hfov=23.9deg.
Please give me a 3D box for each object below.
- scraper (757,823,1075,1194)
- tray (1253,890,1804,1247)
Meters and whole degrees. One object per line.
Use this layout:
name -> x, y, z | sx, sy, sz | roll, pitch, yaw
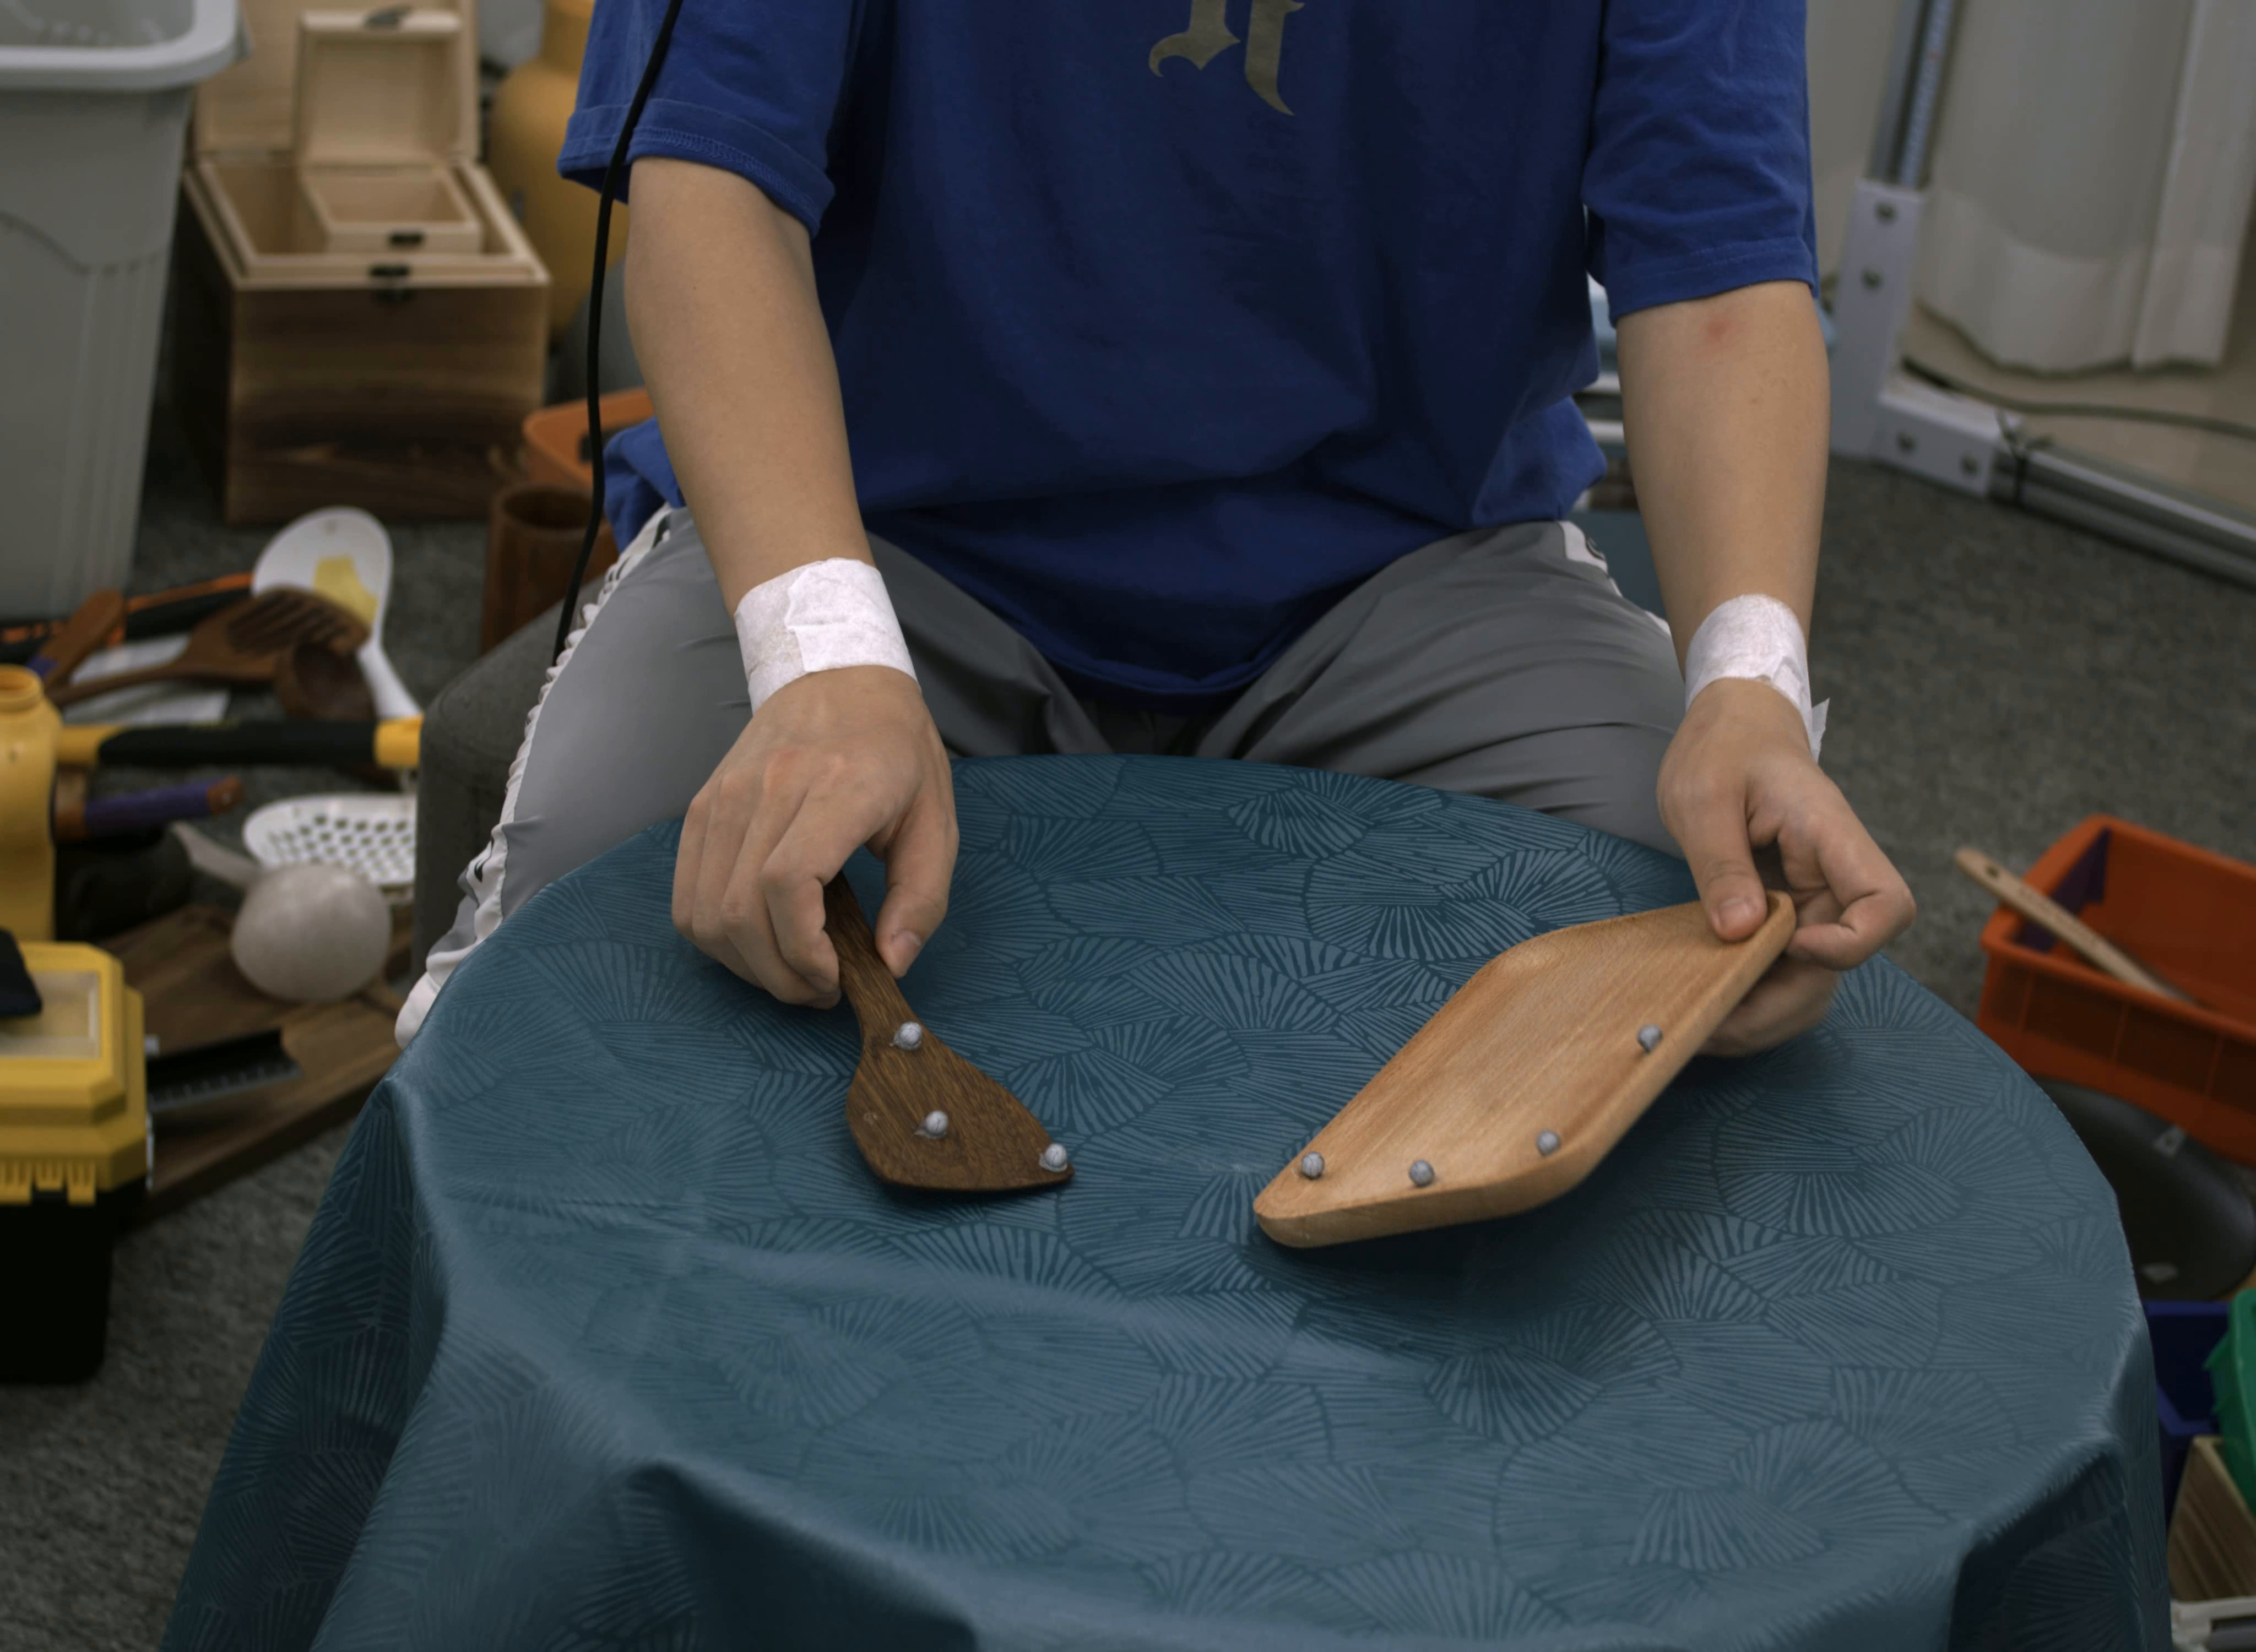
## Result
scraper -> -0.086, 0.063, 1.861 | 0.075, 0.011, 0.213 | 0, 36, -26
tray -> 0.142, 0.082, 1.841 | 0.131, 0.023, 0.250 | -8, 17, 32
